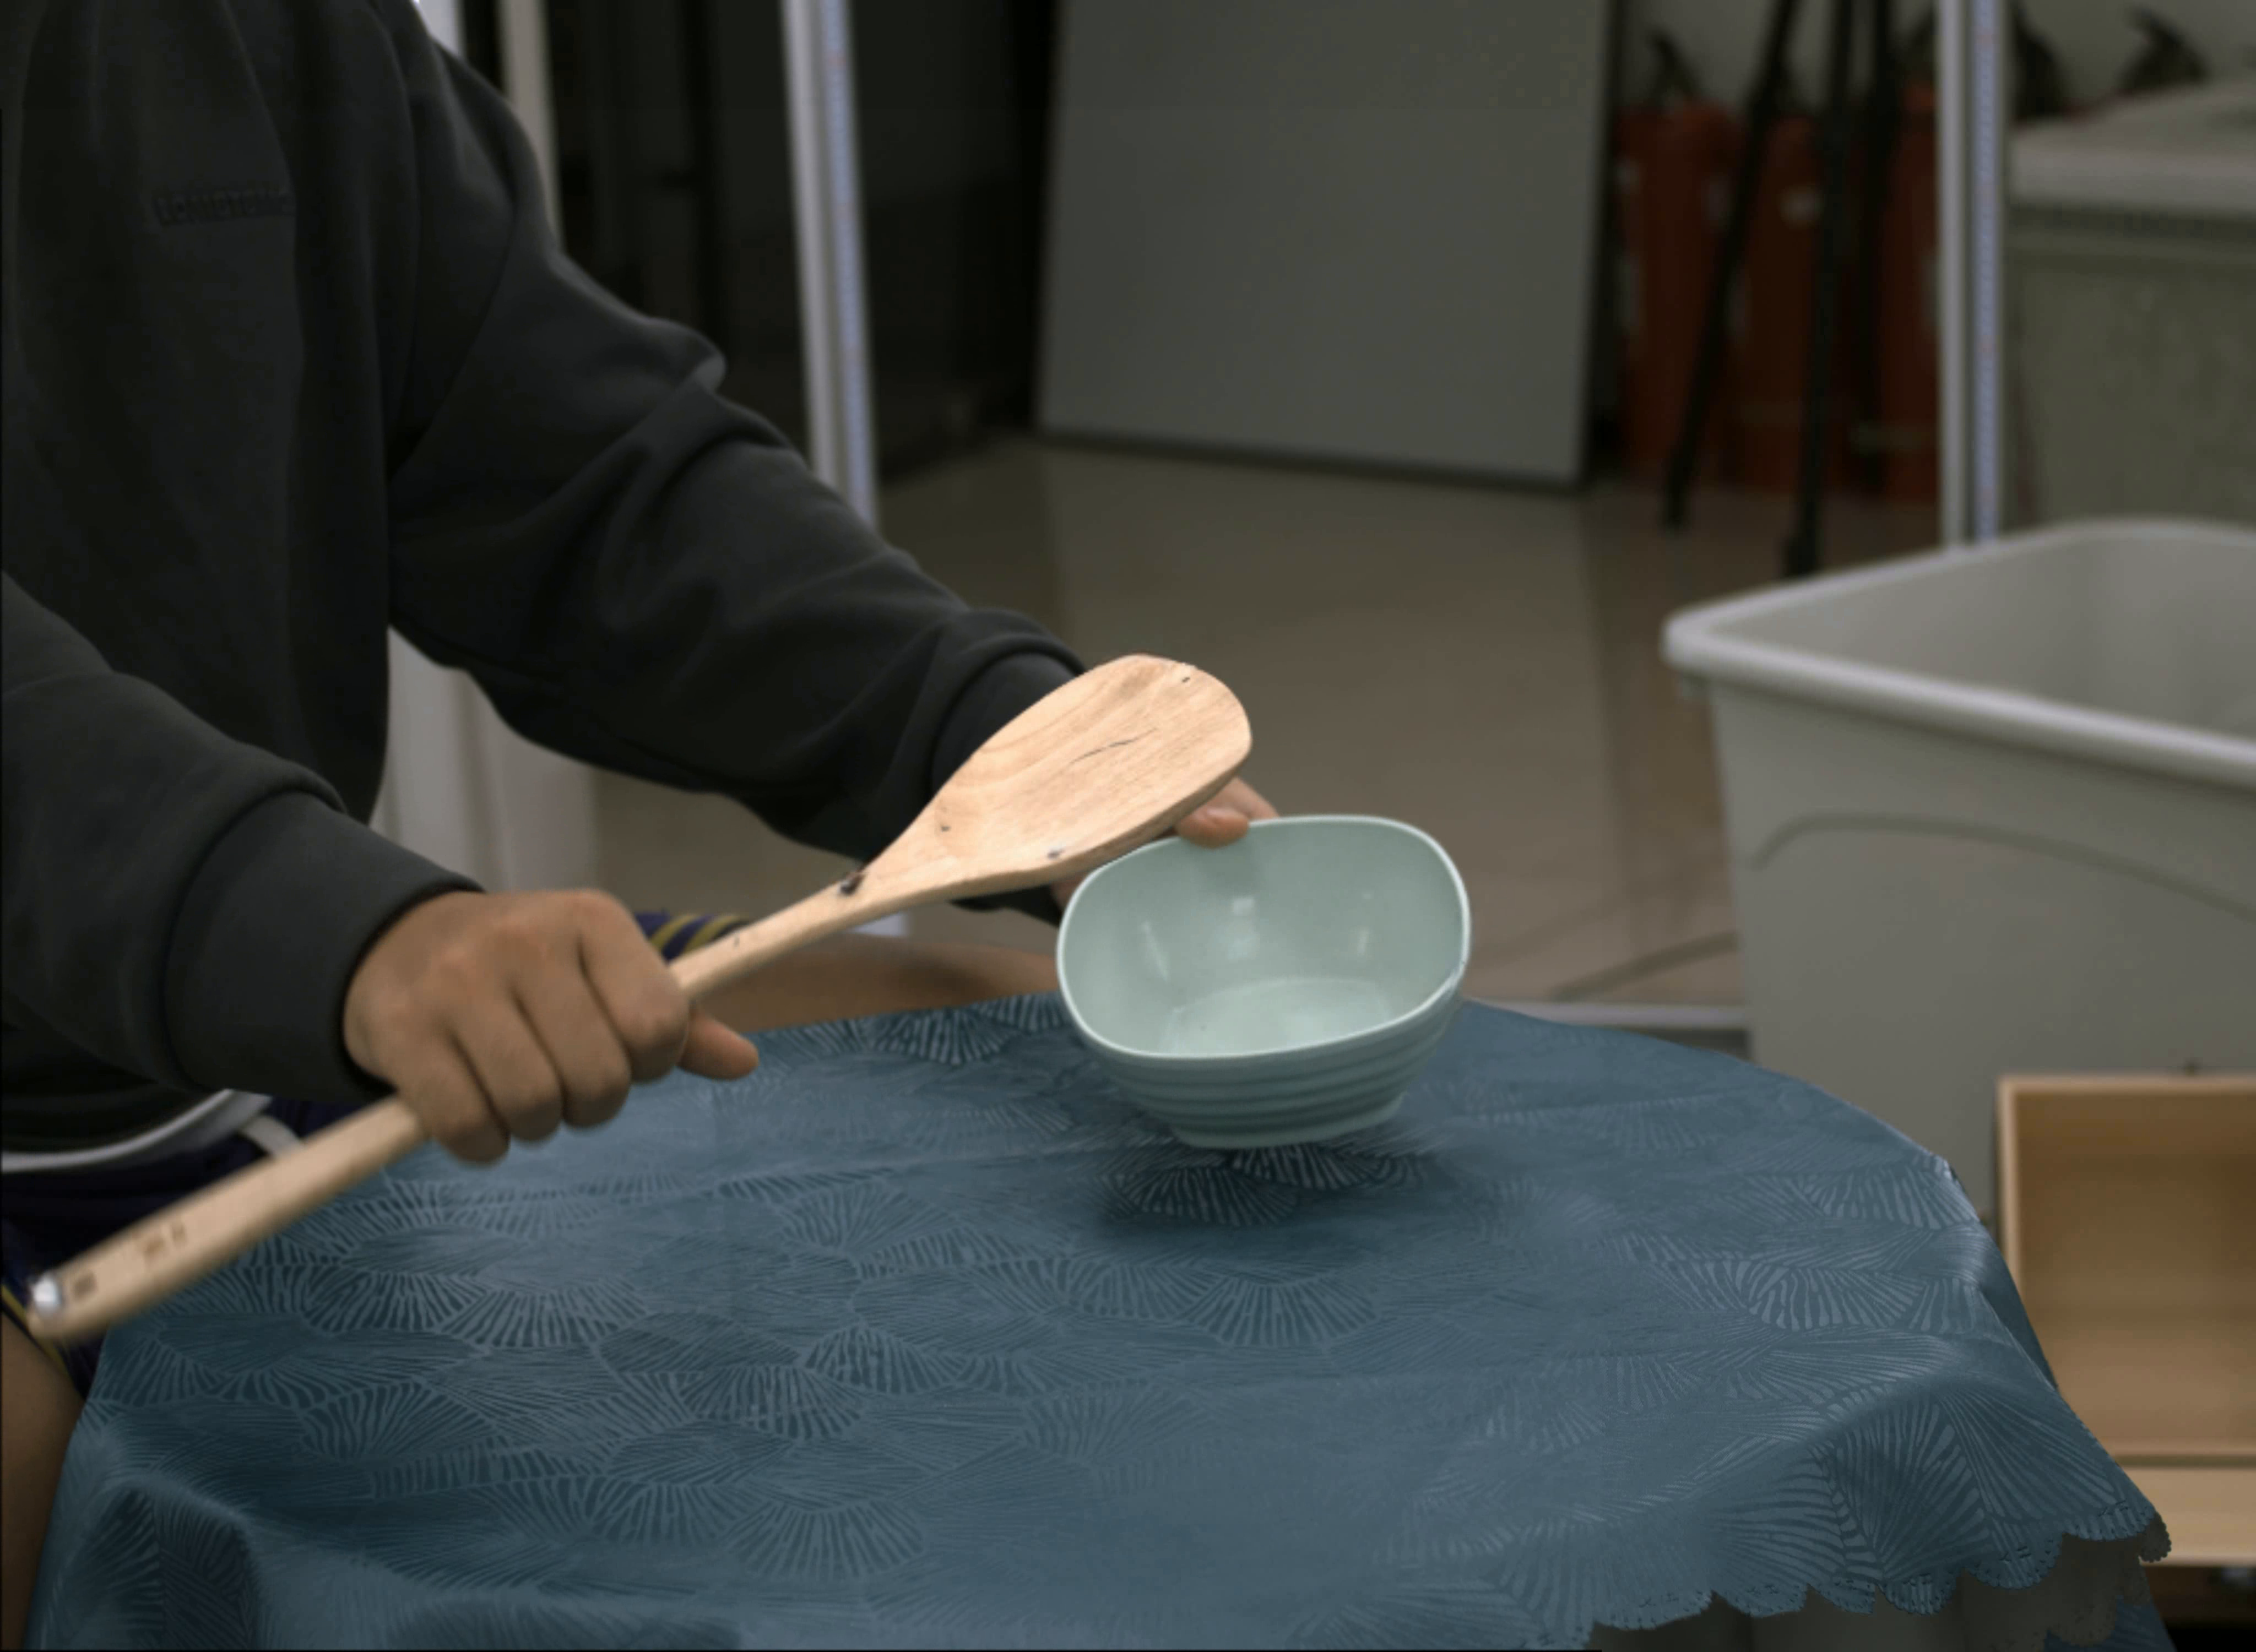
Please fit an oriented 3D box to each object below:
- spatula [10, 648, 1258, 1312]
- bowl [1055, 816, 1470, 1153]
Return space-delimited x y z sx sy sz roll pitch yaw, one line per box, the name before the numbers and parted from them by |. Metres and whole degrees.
spatula | -0.137 0.045 1.533 0.385 0.018 0.097 -26 28 -13
bowl | 0.047 0.059 1.786 0.150 0.059 0.152 -7 32 4
